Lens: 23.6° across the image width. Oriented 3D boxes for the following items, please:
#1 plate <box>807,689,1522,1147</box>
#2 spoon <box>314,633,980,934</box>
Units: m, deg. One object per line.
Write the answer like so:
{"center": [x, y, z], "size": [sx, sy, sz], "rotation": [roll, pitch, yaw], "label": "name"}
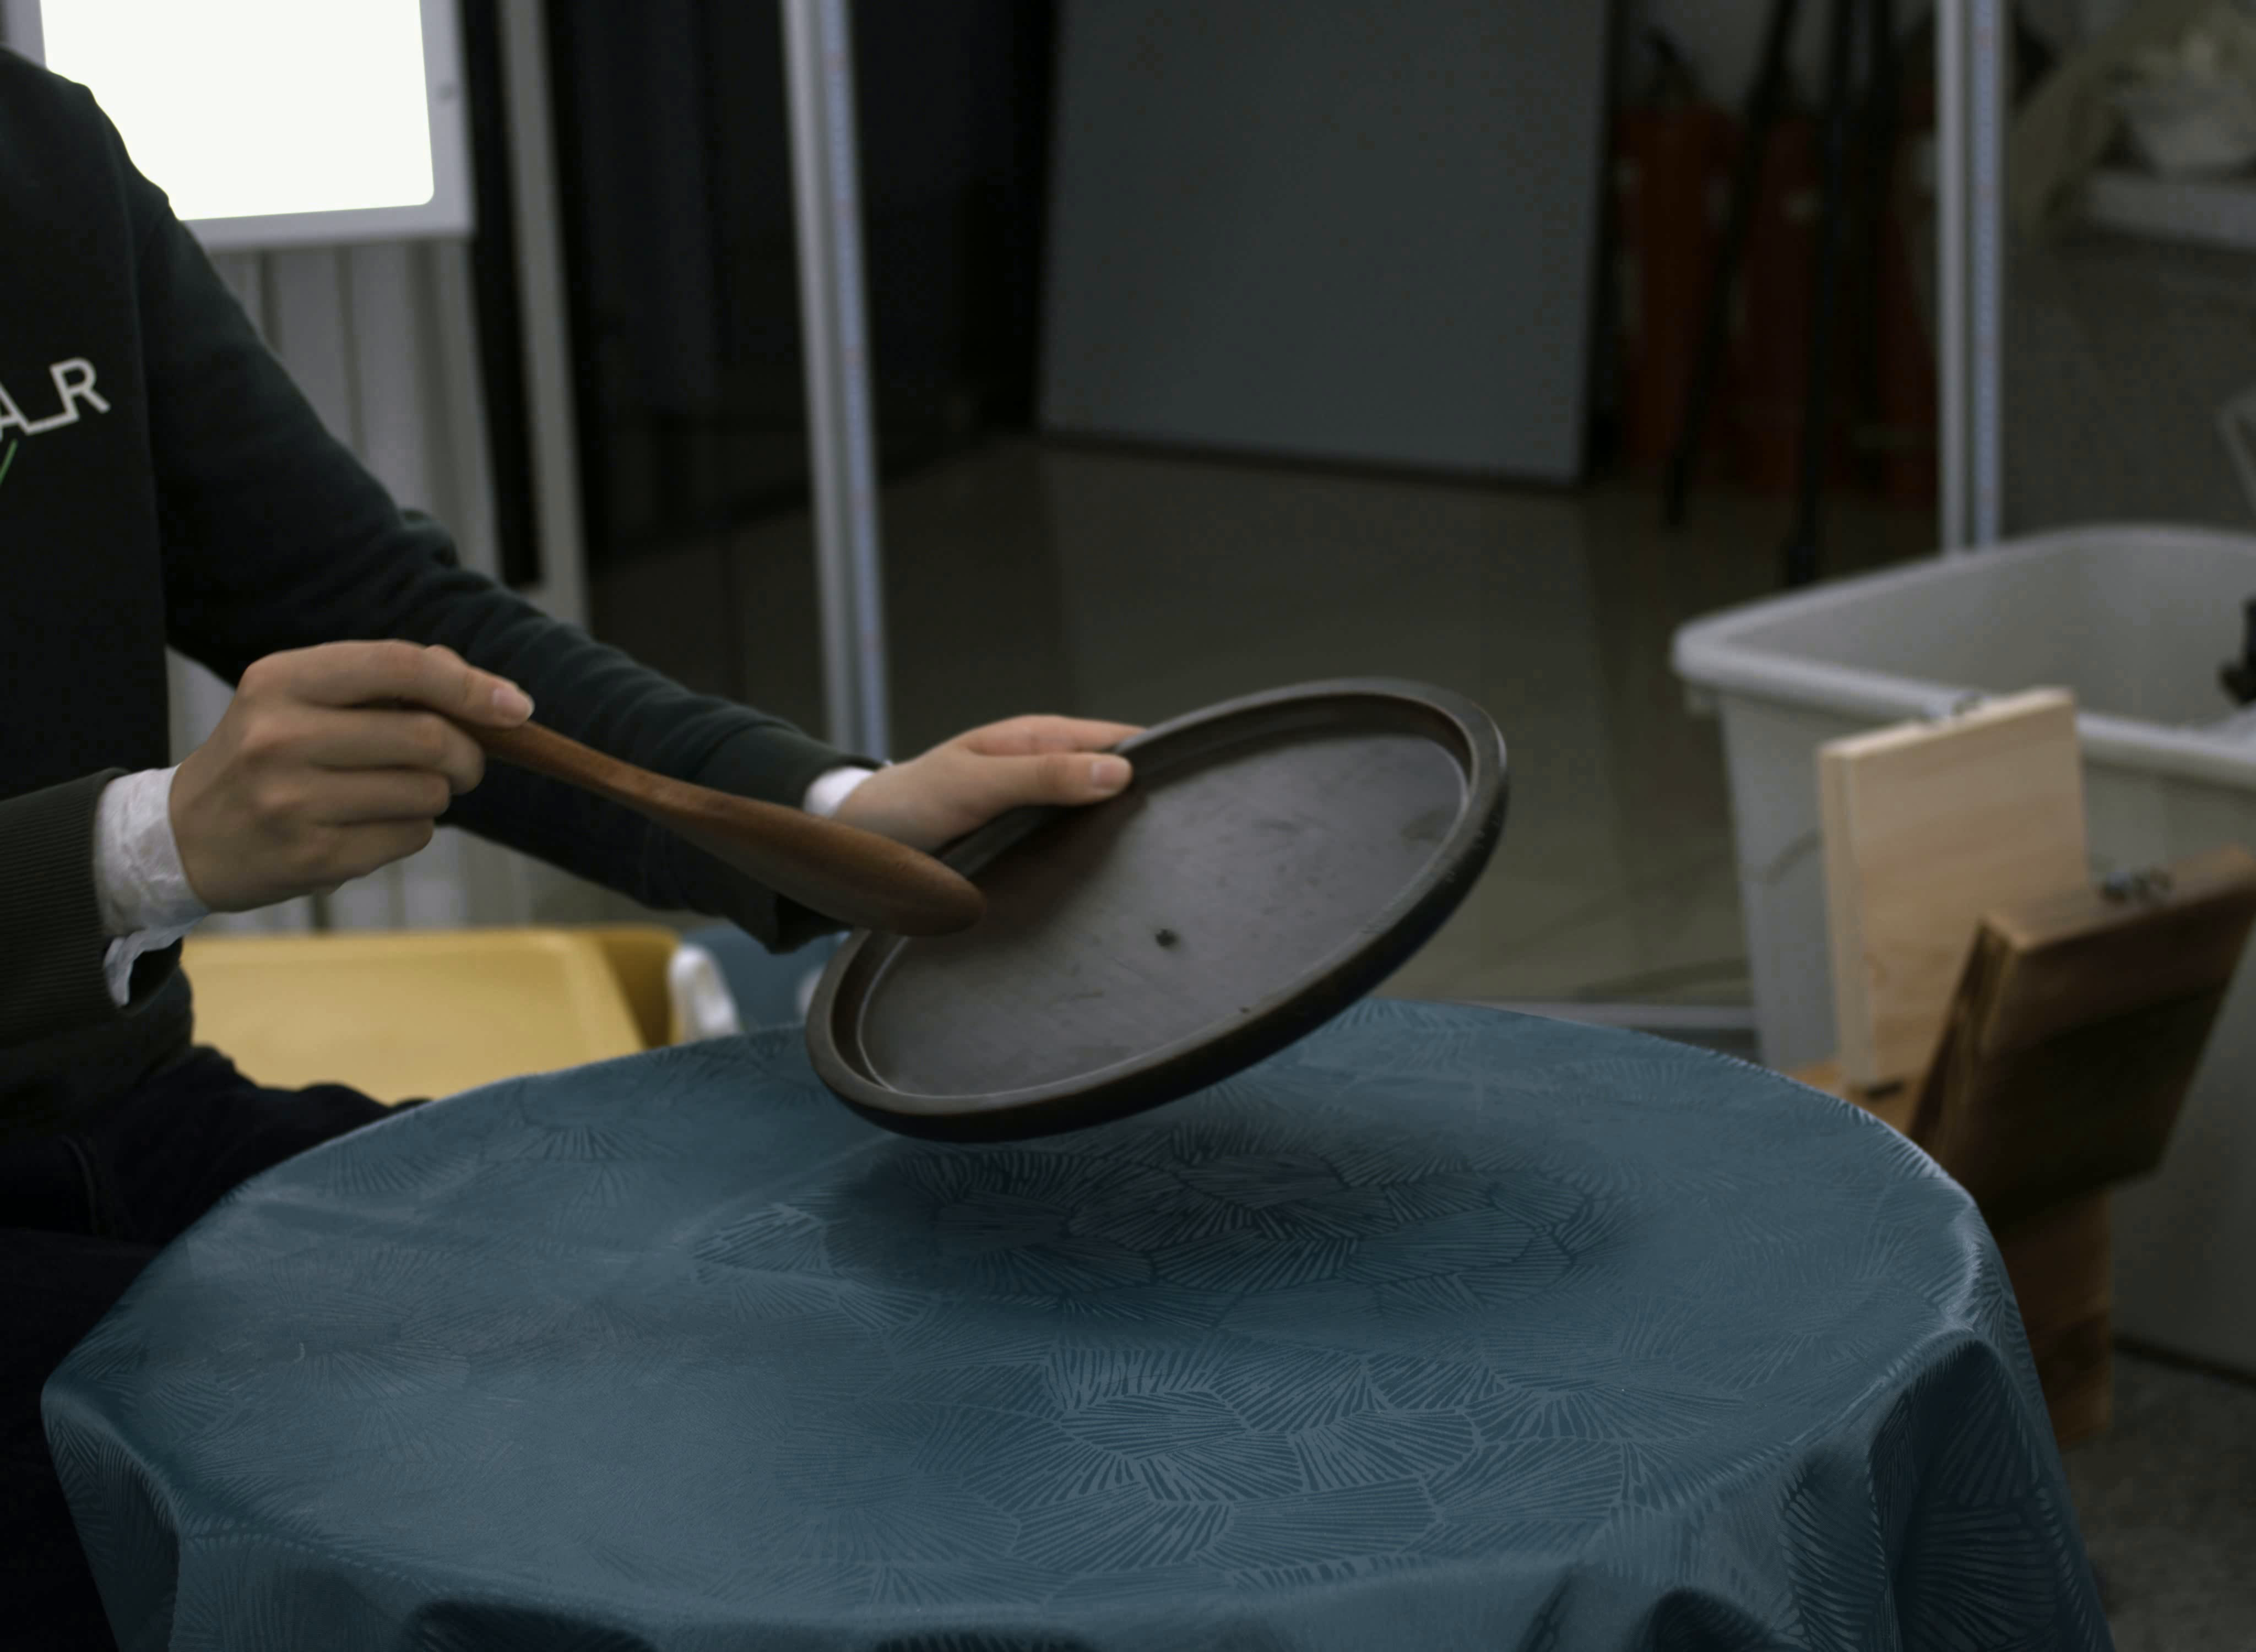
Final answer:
{"center": [0.014, 0.029, 1.769], "size": [0.253, 0.029, 0.256], "rotation": [-22, 23, 9], "label": "plate"}
{"center": [-0.145, -0.009, 1.634], "size": [0.213, 0.017, 0.076], "rotation": [23, -15, -10], "label": "spoon"}
